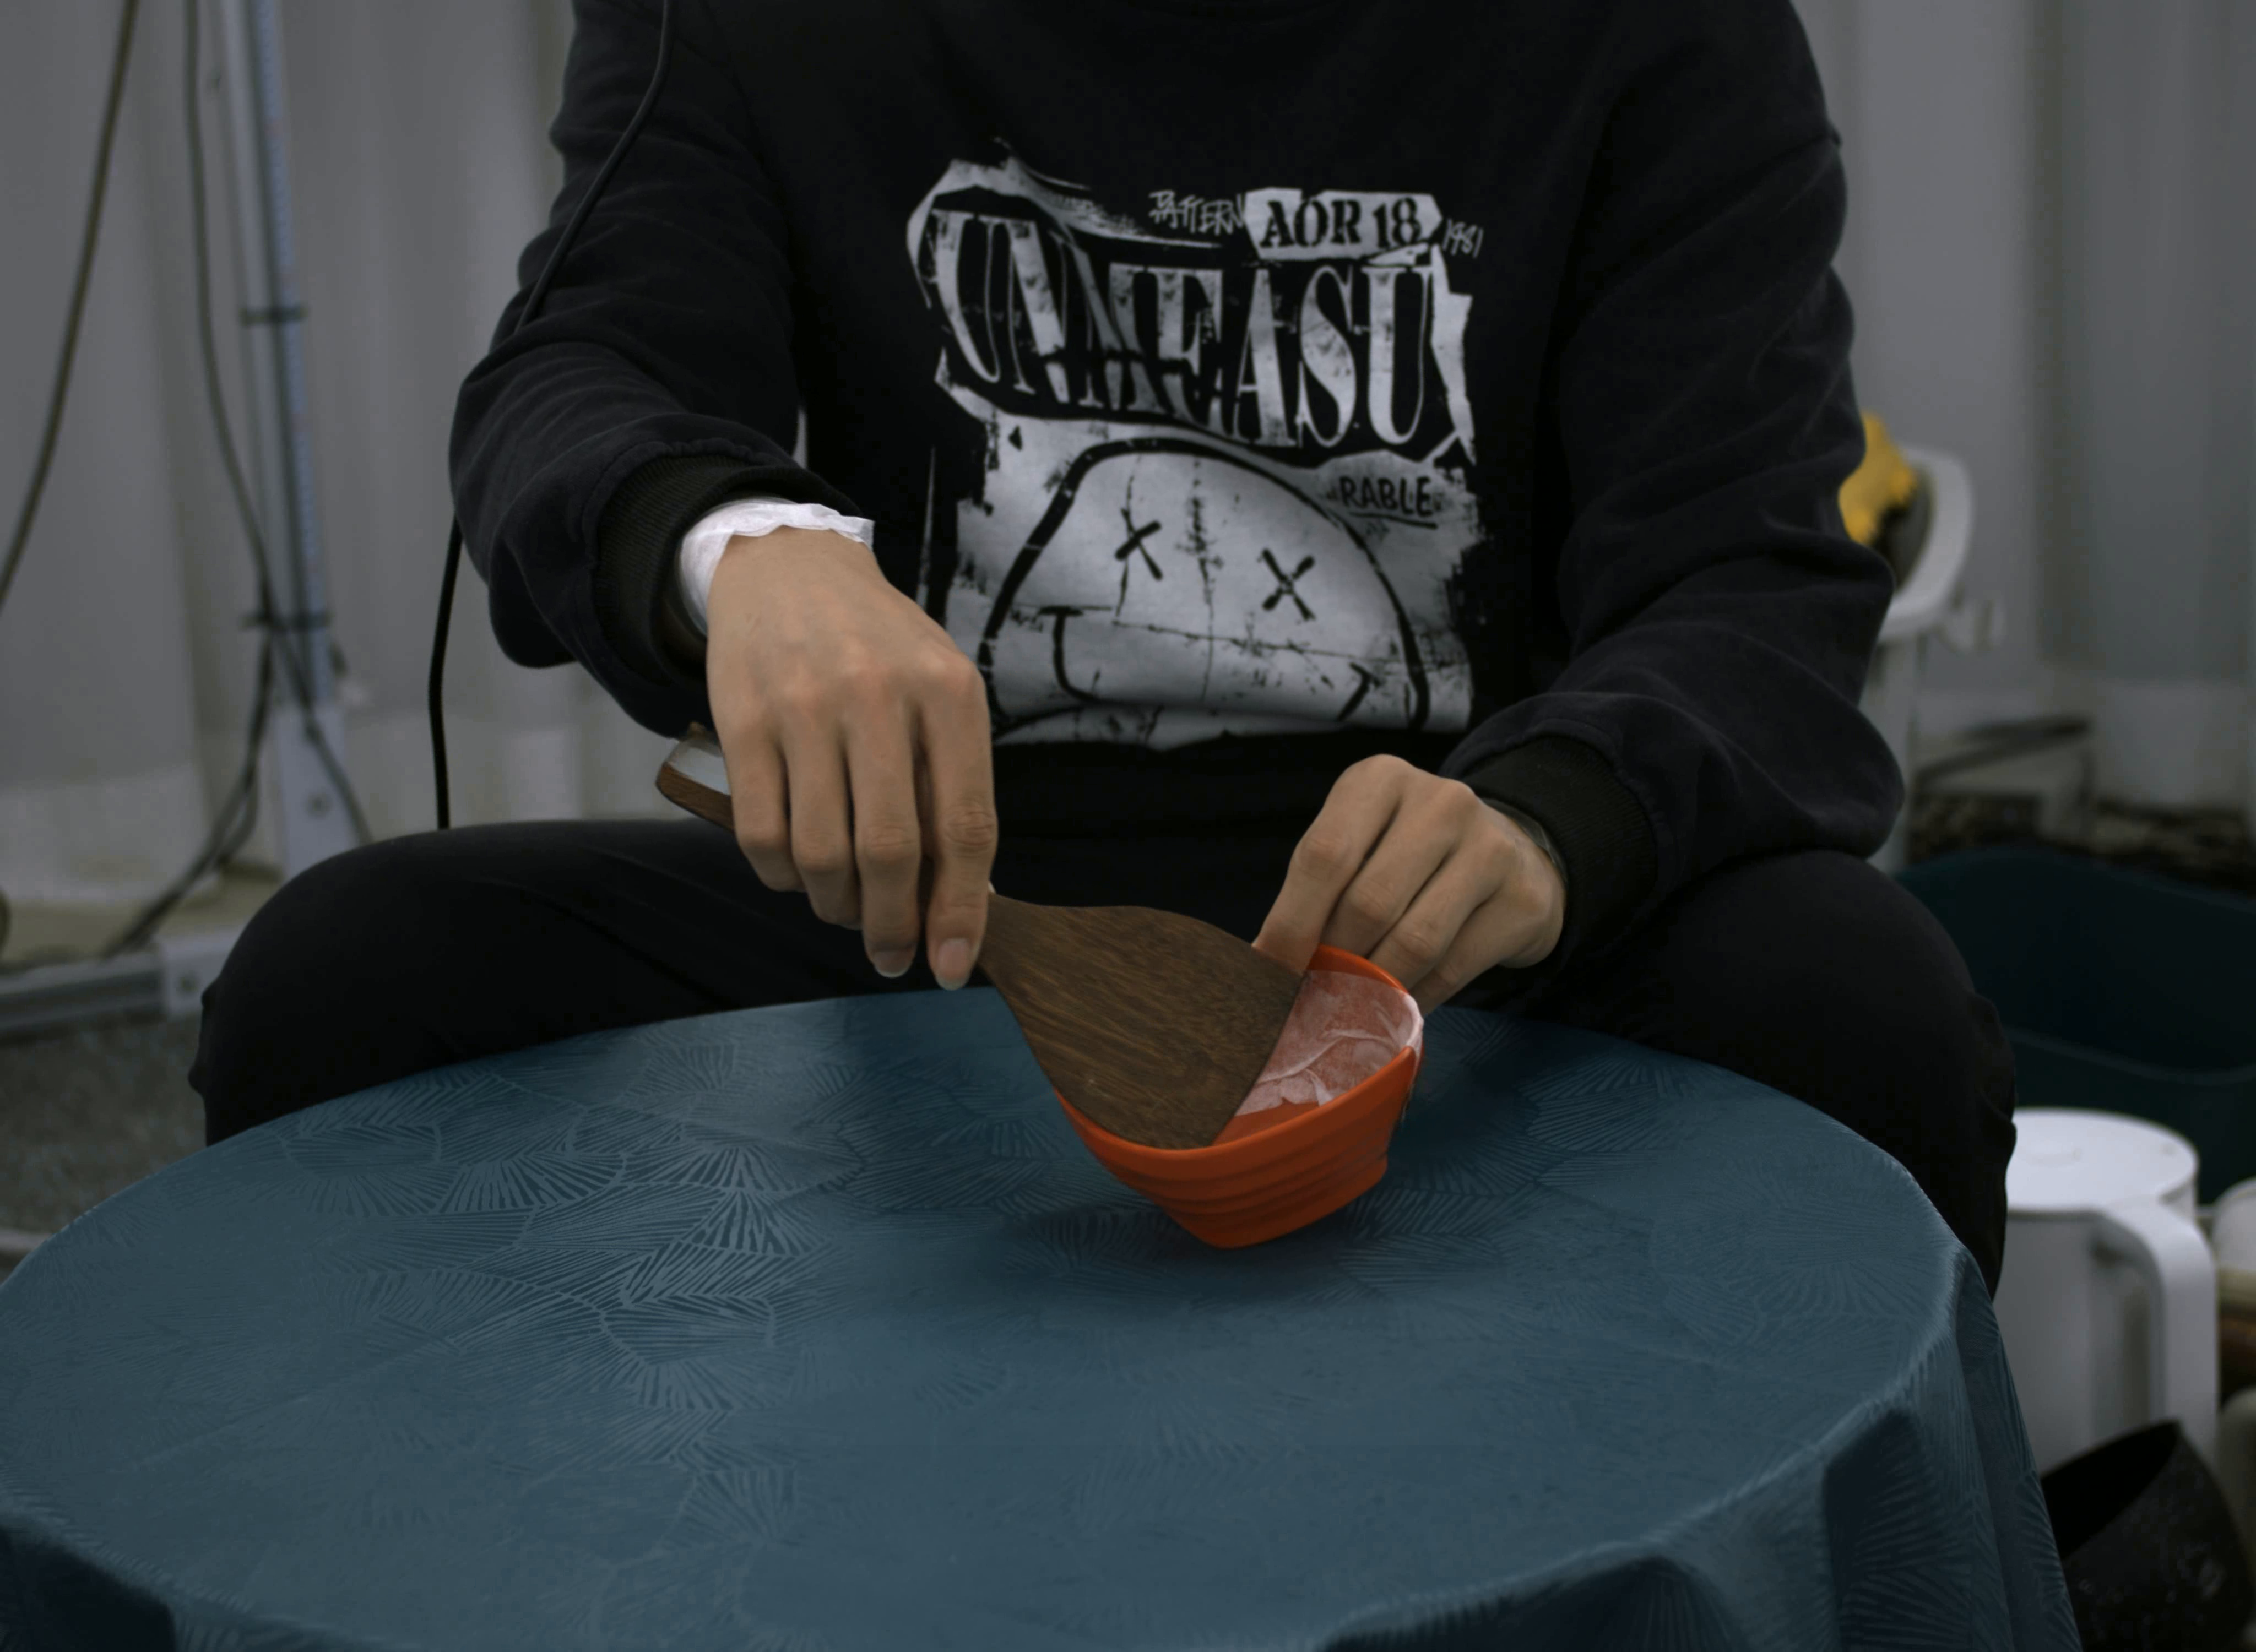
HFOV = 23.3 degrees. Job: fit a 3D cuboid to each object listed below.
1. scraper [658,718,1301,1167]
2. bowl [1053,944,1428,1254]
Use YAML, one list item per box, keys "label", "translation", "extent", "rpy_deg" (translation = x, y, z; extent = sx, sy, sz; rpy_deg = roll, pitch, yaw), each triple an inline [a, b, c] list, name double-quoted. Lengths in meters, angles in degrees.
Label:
- label: "scraper"
  translation: [-0.050, 0.026, 1.662]
  extent: [0.212, 0.076, 0.011]
  rpy_deg: [30, -18, 11]
- label: "bowl"
  translation: [0.039, 0.088, 1.678]
  extent: [0.118, 0.051, 0.120]
  rpy_deg: [-13, 27, 7]
